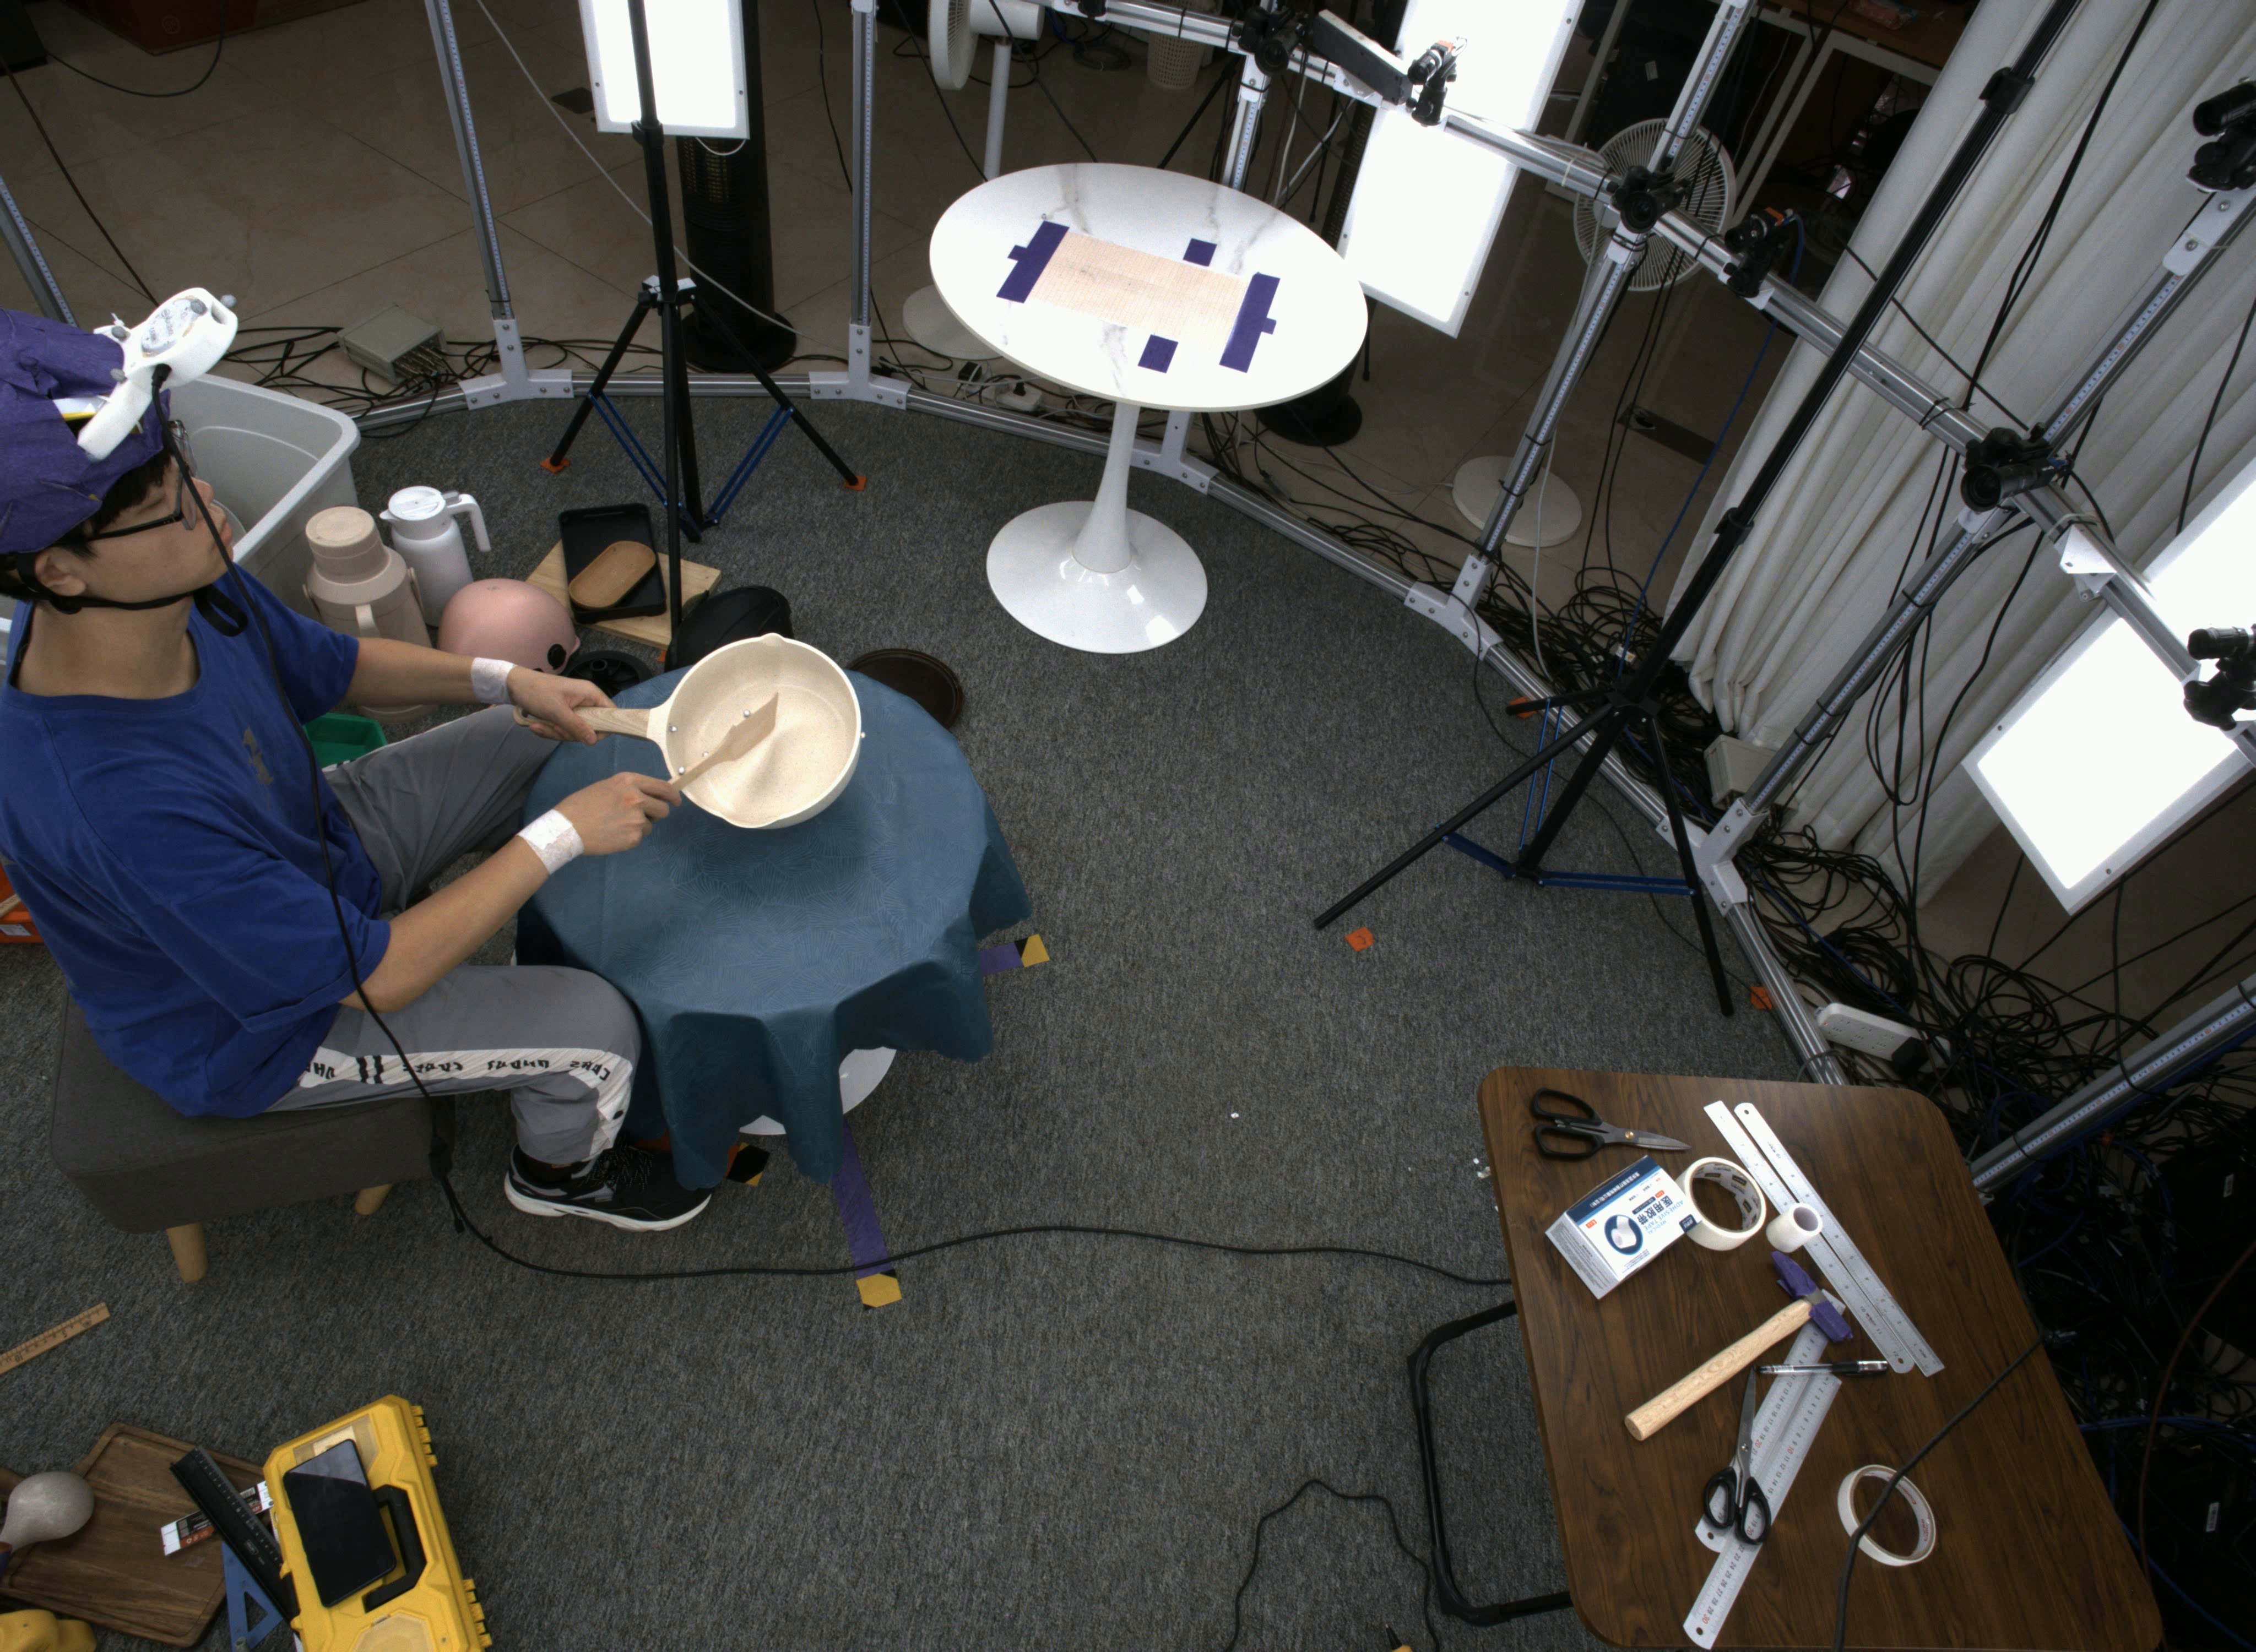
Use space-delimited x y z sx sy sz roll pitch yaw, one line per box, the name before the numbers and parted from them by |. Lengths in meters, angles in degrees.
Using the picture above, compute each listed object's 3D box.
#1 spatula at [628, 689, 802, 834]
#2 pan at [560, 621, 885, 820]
spatula | -0.502 -0.077 1.582 0.010 0.073 0.293 36 49 10
pan | -0.525 -0.130 1.665 0.431 0.103 0.263 1 76 -2
